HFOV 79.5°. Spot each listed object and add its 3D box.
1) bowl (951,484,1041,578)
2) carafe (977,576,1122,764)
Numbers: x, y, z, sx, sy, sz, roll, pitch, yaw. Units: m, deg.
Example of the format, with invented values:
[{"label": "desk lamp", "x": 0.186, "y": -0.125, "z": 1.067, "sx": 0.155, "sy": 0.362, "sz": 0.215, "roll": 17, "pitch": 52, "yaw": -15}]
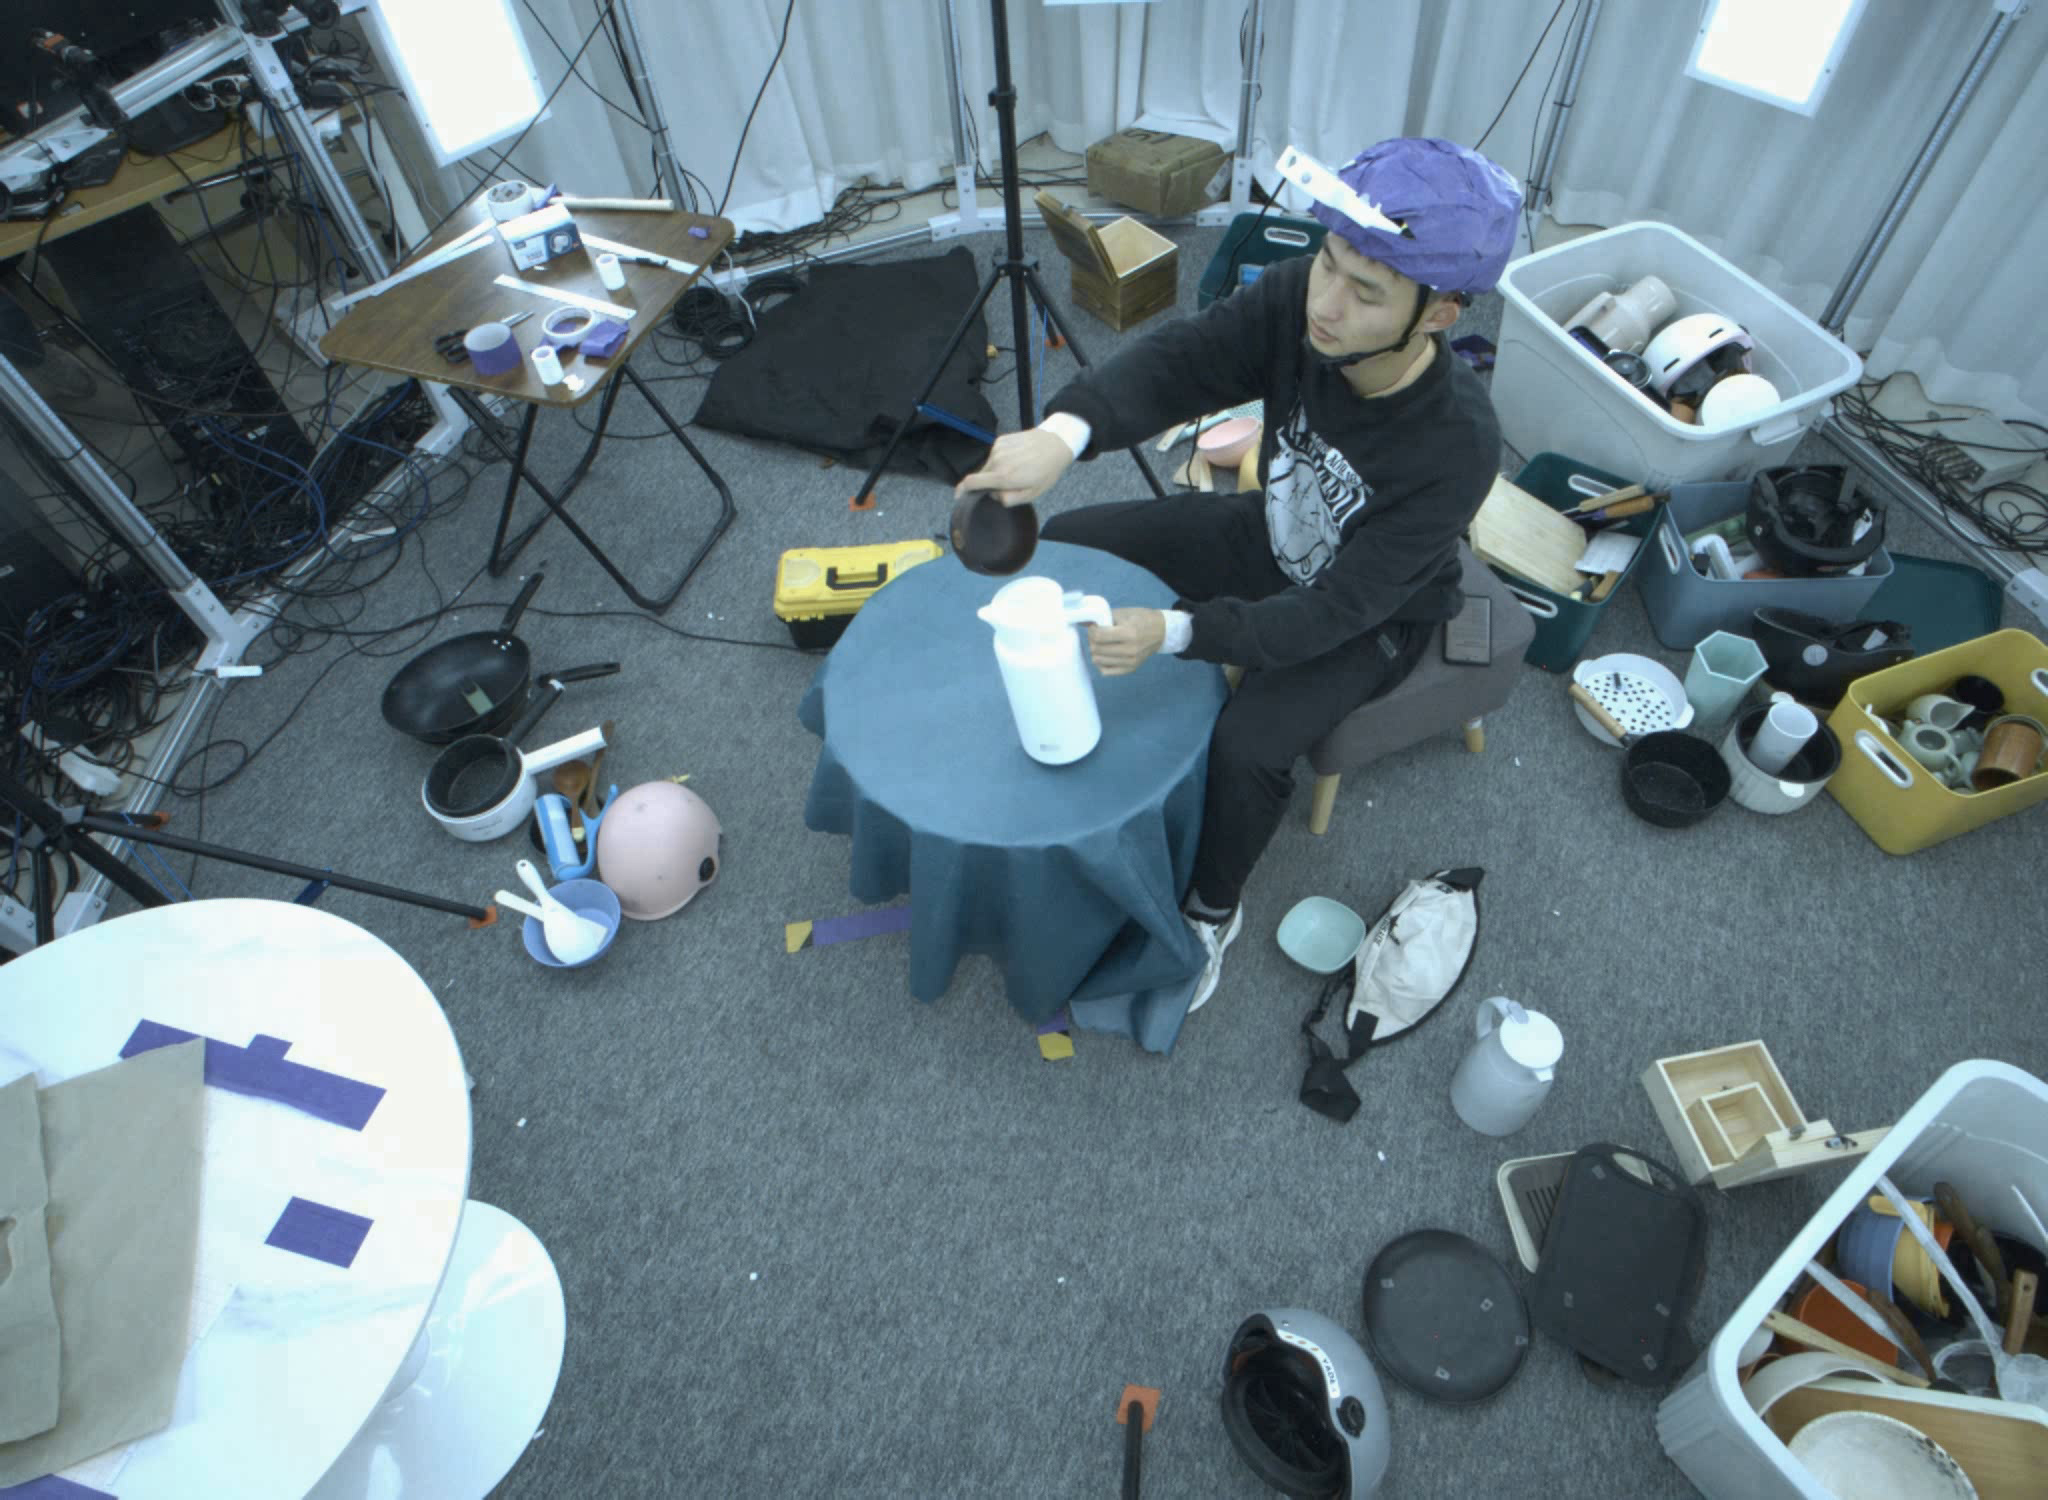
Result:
[{"label": "bowl", "x": -0.045, "y": -0.281, "z": 1.560, "sx": 0.119, "sy": 0.120, "sz": 0.068, "roll": -44, "pitch": 36, "yaw": -24}, {"label": "carafe", "x": 0.047, "y": -0.110, "z": 1.685, "sx": 0.172, "sy": 0.273, "sz": 0.122, "roll": -8, "pitch": 46, "yaw": 7}]
